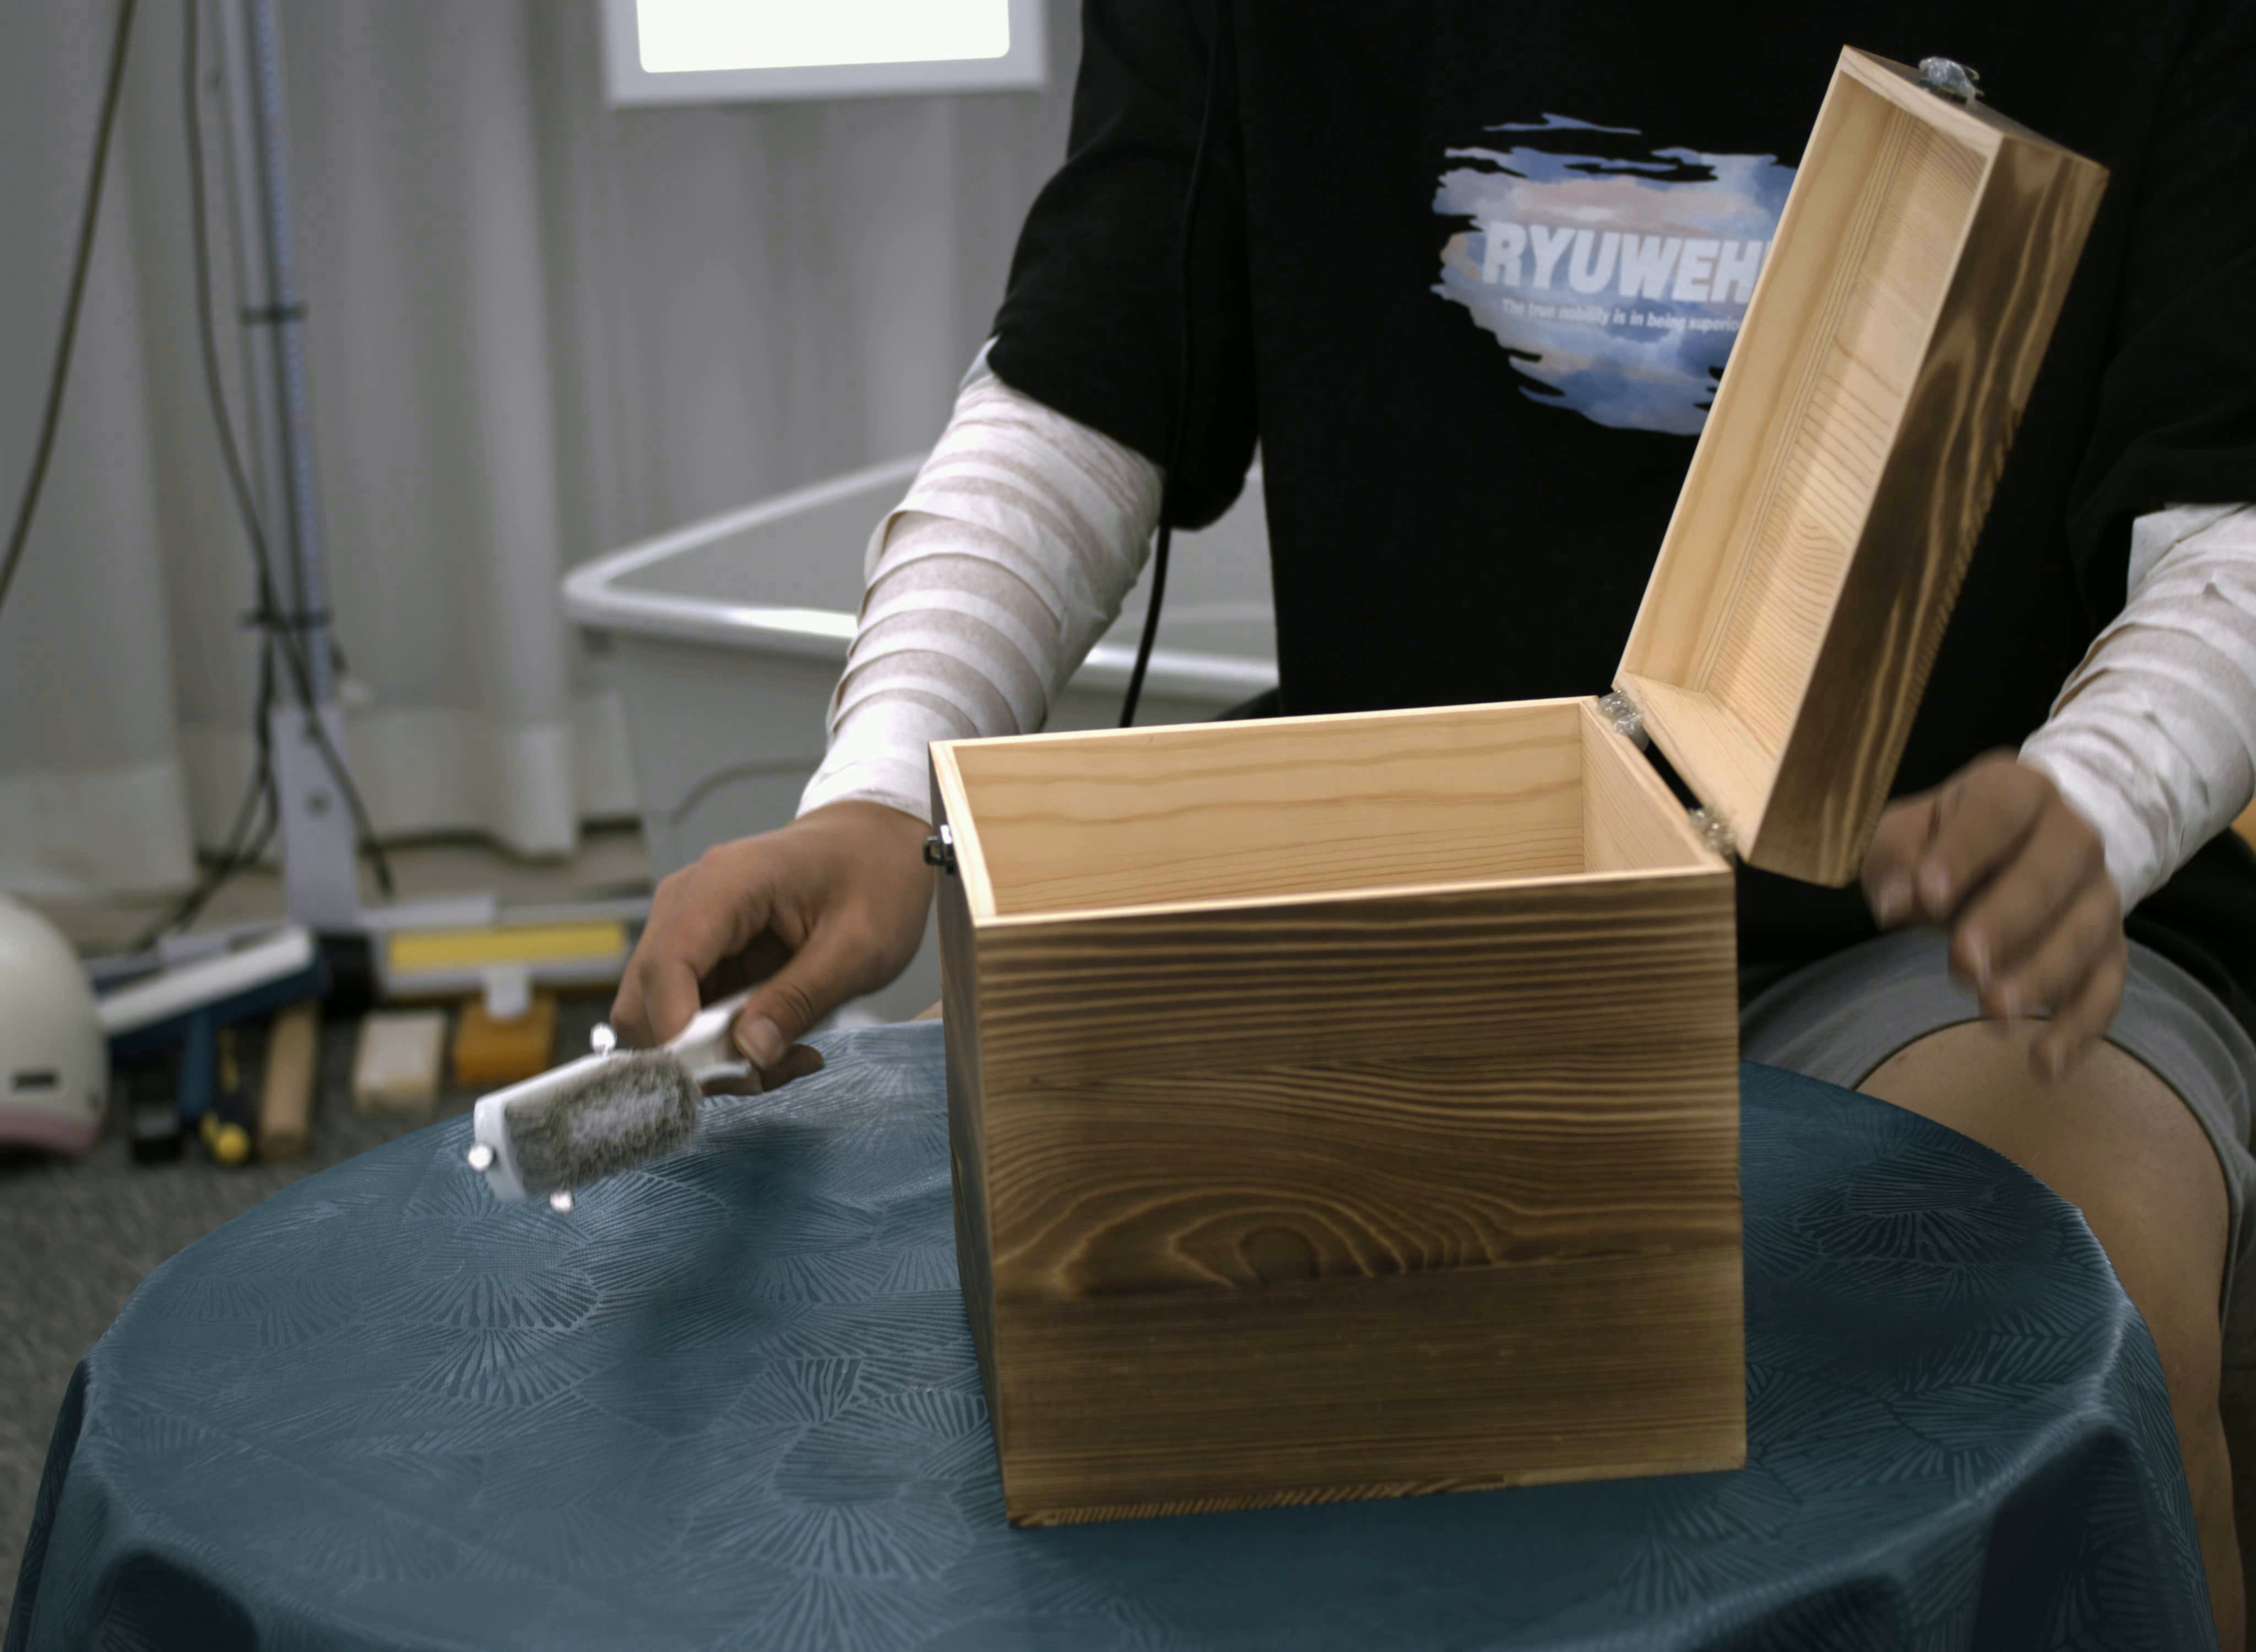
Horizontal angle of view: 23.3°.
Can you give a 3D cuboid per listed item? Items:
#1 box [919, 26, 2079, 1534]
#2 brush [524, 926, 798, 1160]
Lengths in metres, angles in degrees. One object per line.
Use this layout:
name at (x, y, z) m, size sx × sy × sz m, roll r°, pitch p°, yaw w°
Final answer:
box at (0.099, -0.025, 1.516) m, size 0.321 × 0.374 × 0.210 m, roll -4°, pitch 12°, yaw -5°
brush at (-0.126, 0.064, 1.709) m, size 0.050 × 0.034 × 0.244 m, roll 0°, pitch 9°, yaw 15°
